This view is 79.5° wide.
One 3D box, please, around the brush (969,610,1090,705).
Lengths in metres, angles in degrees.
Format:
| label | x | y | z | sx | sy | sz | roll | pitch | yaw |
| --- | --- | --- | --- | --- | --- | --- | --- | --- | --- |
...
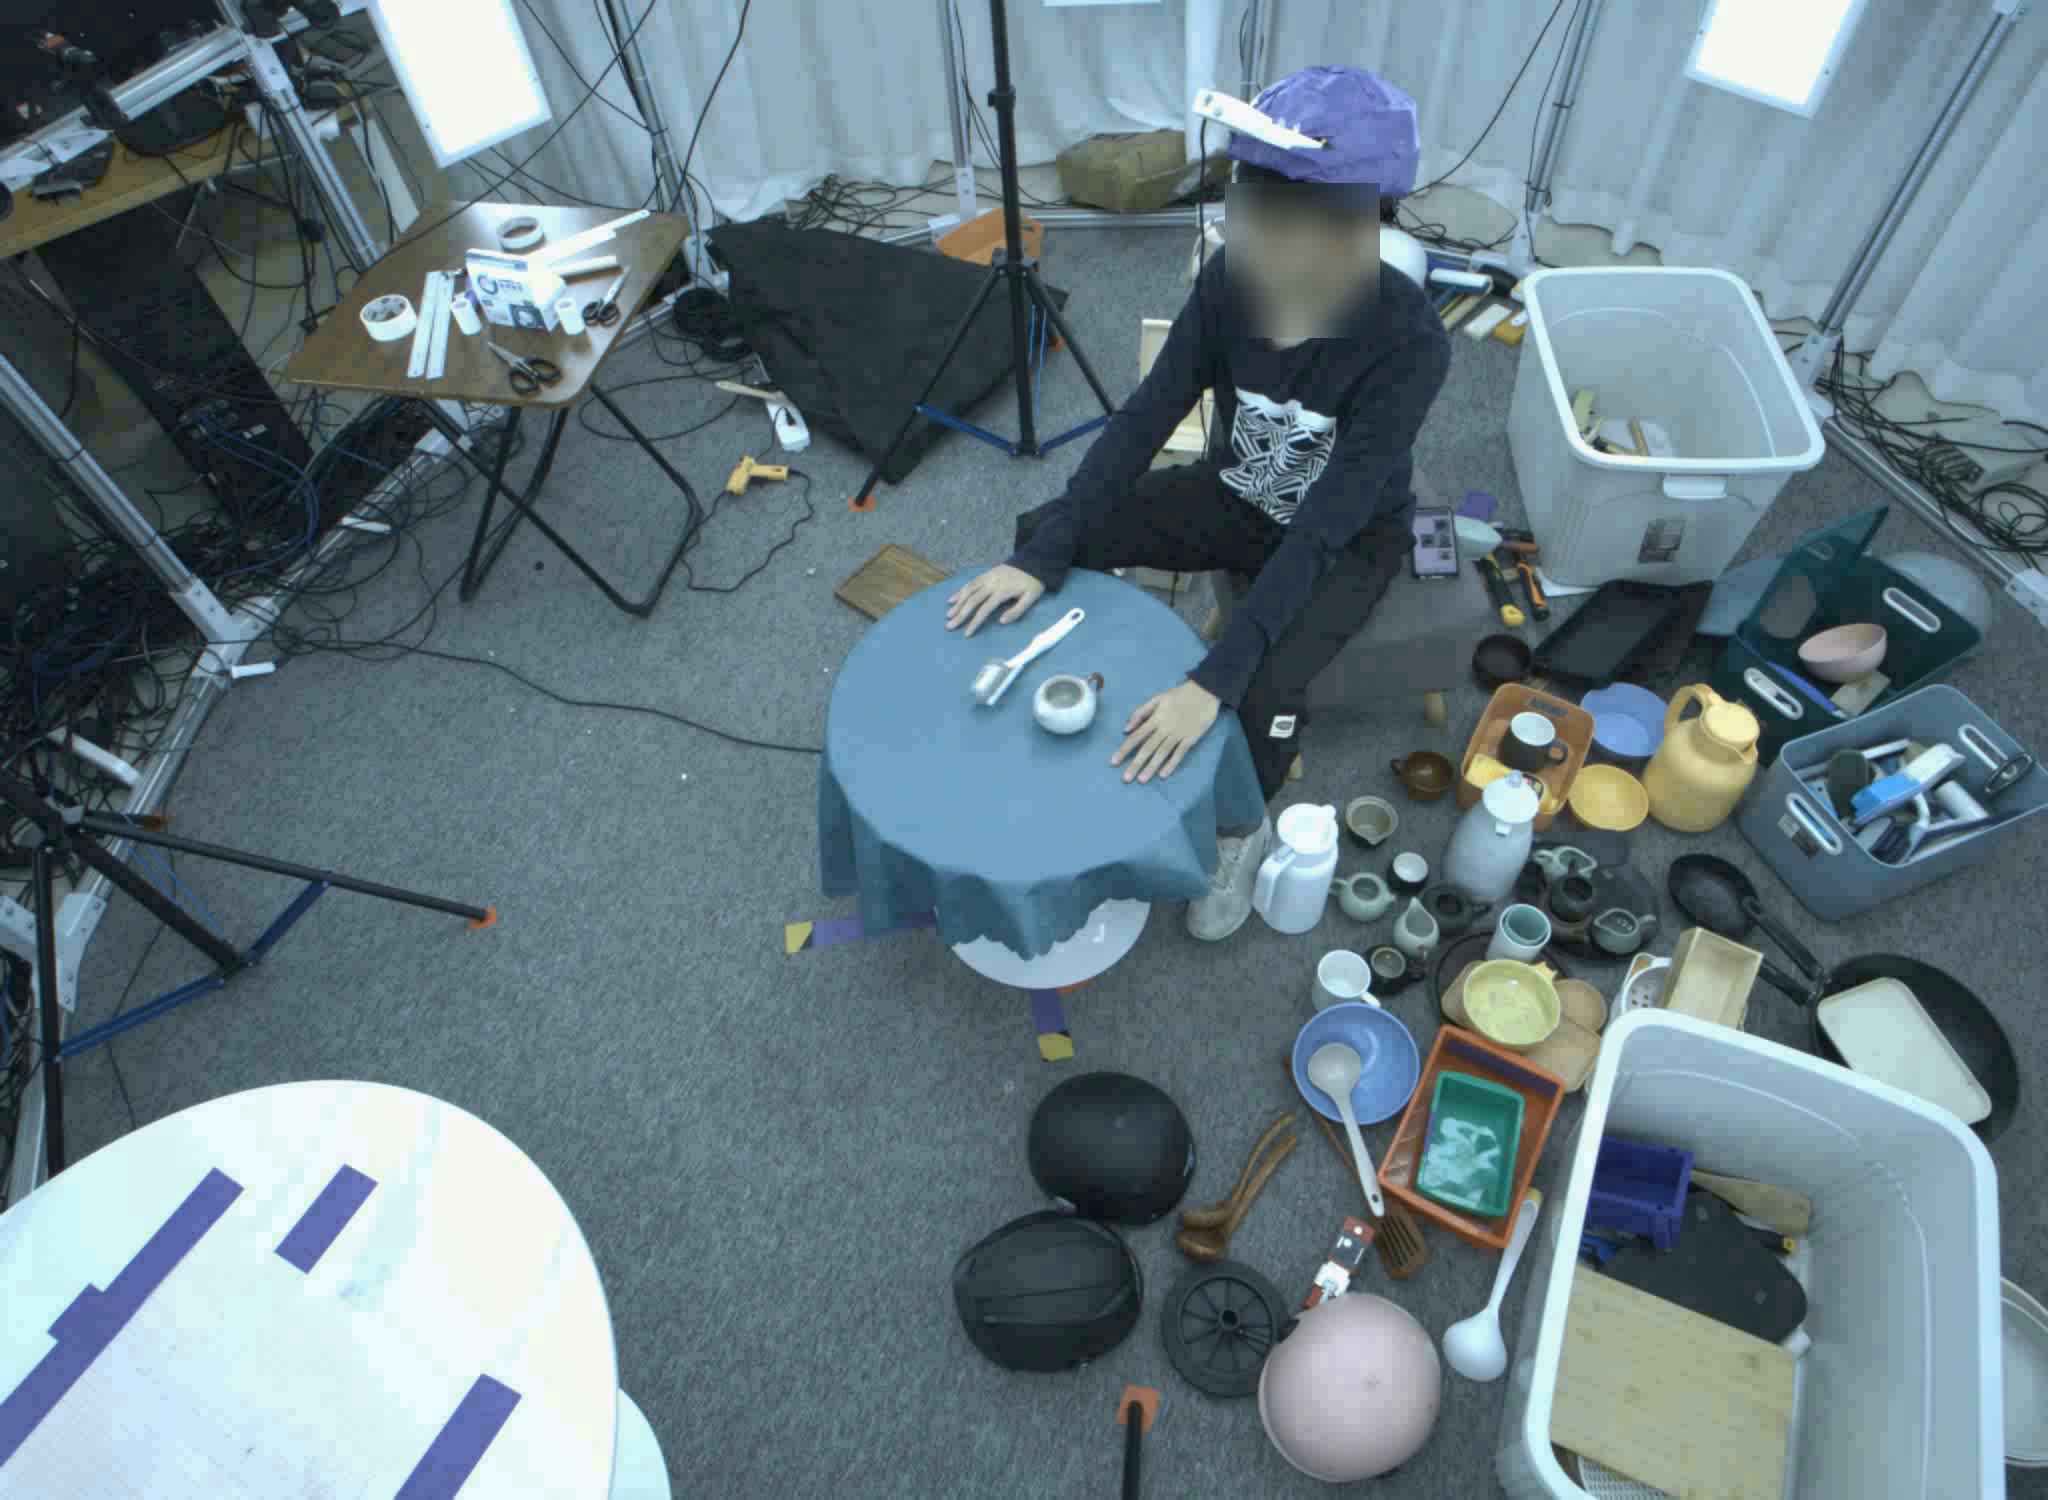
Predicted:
| label | x | y | z | sx | sy | sz | roll | pitch | yaw |
| --- | --- | --- | --- | --- | --- | --- | --- | --- | --- |
| brush | 0.012 | -0.153 | 1.859 | 0.034 | 0.051 | 0.245 | 35 | 63 | 30 |

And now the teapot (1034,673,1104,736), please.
| label | x | y | z | sx | sy | sz | roll | pitch | yaw |
| --- | --- | --- | --- | --- | --- | --- | --- | --- | --- |
| teapot | 0.067 | -0.069 | 1.792 | 0.129 | 0.060 | 0.090 | -37 | 57 | -20 |
